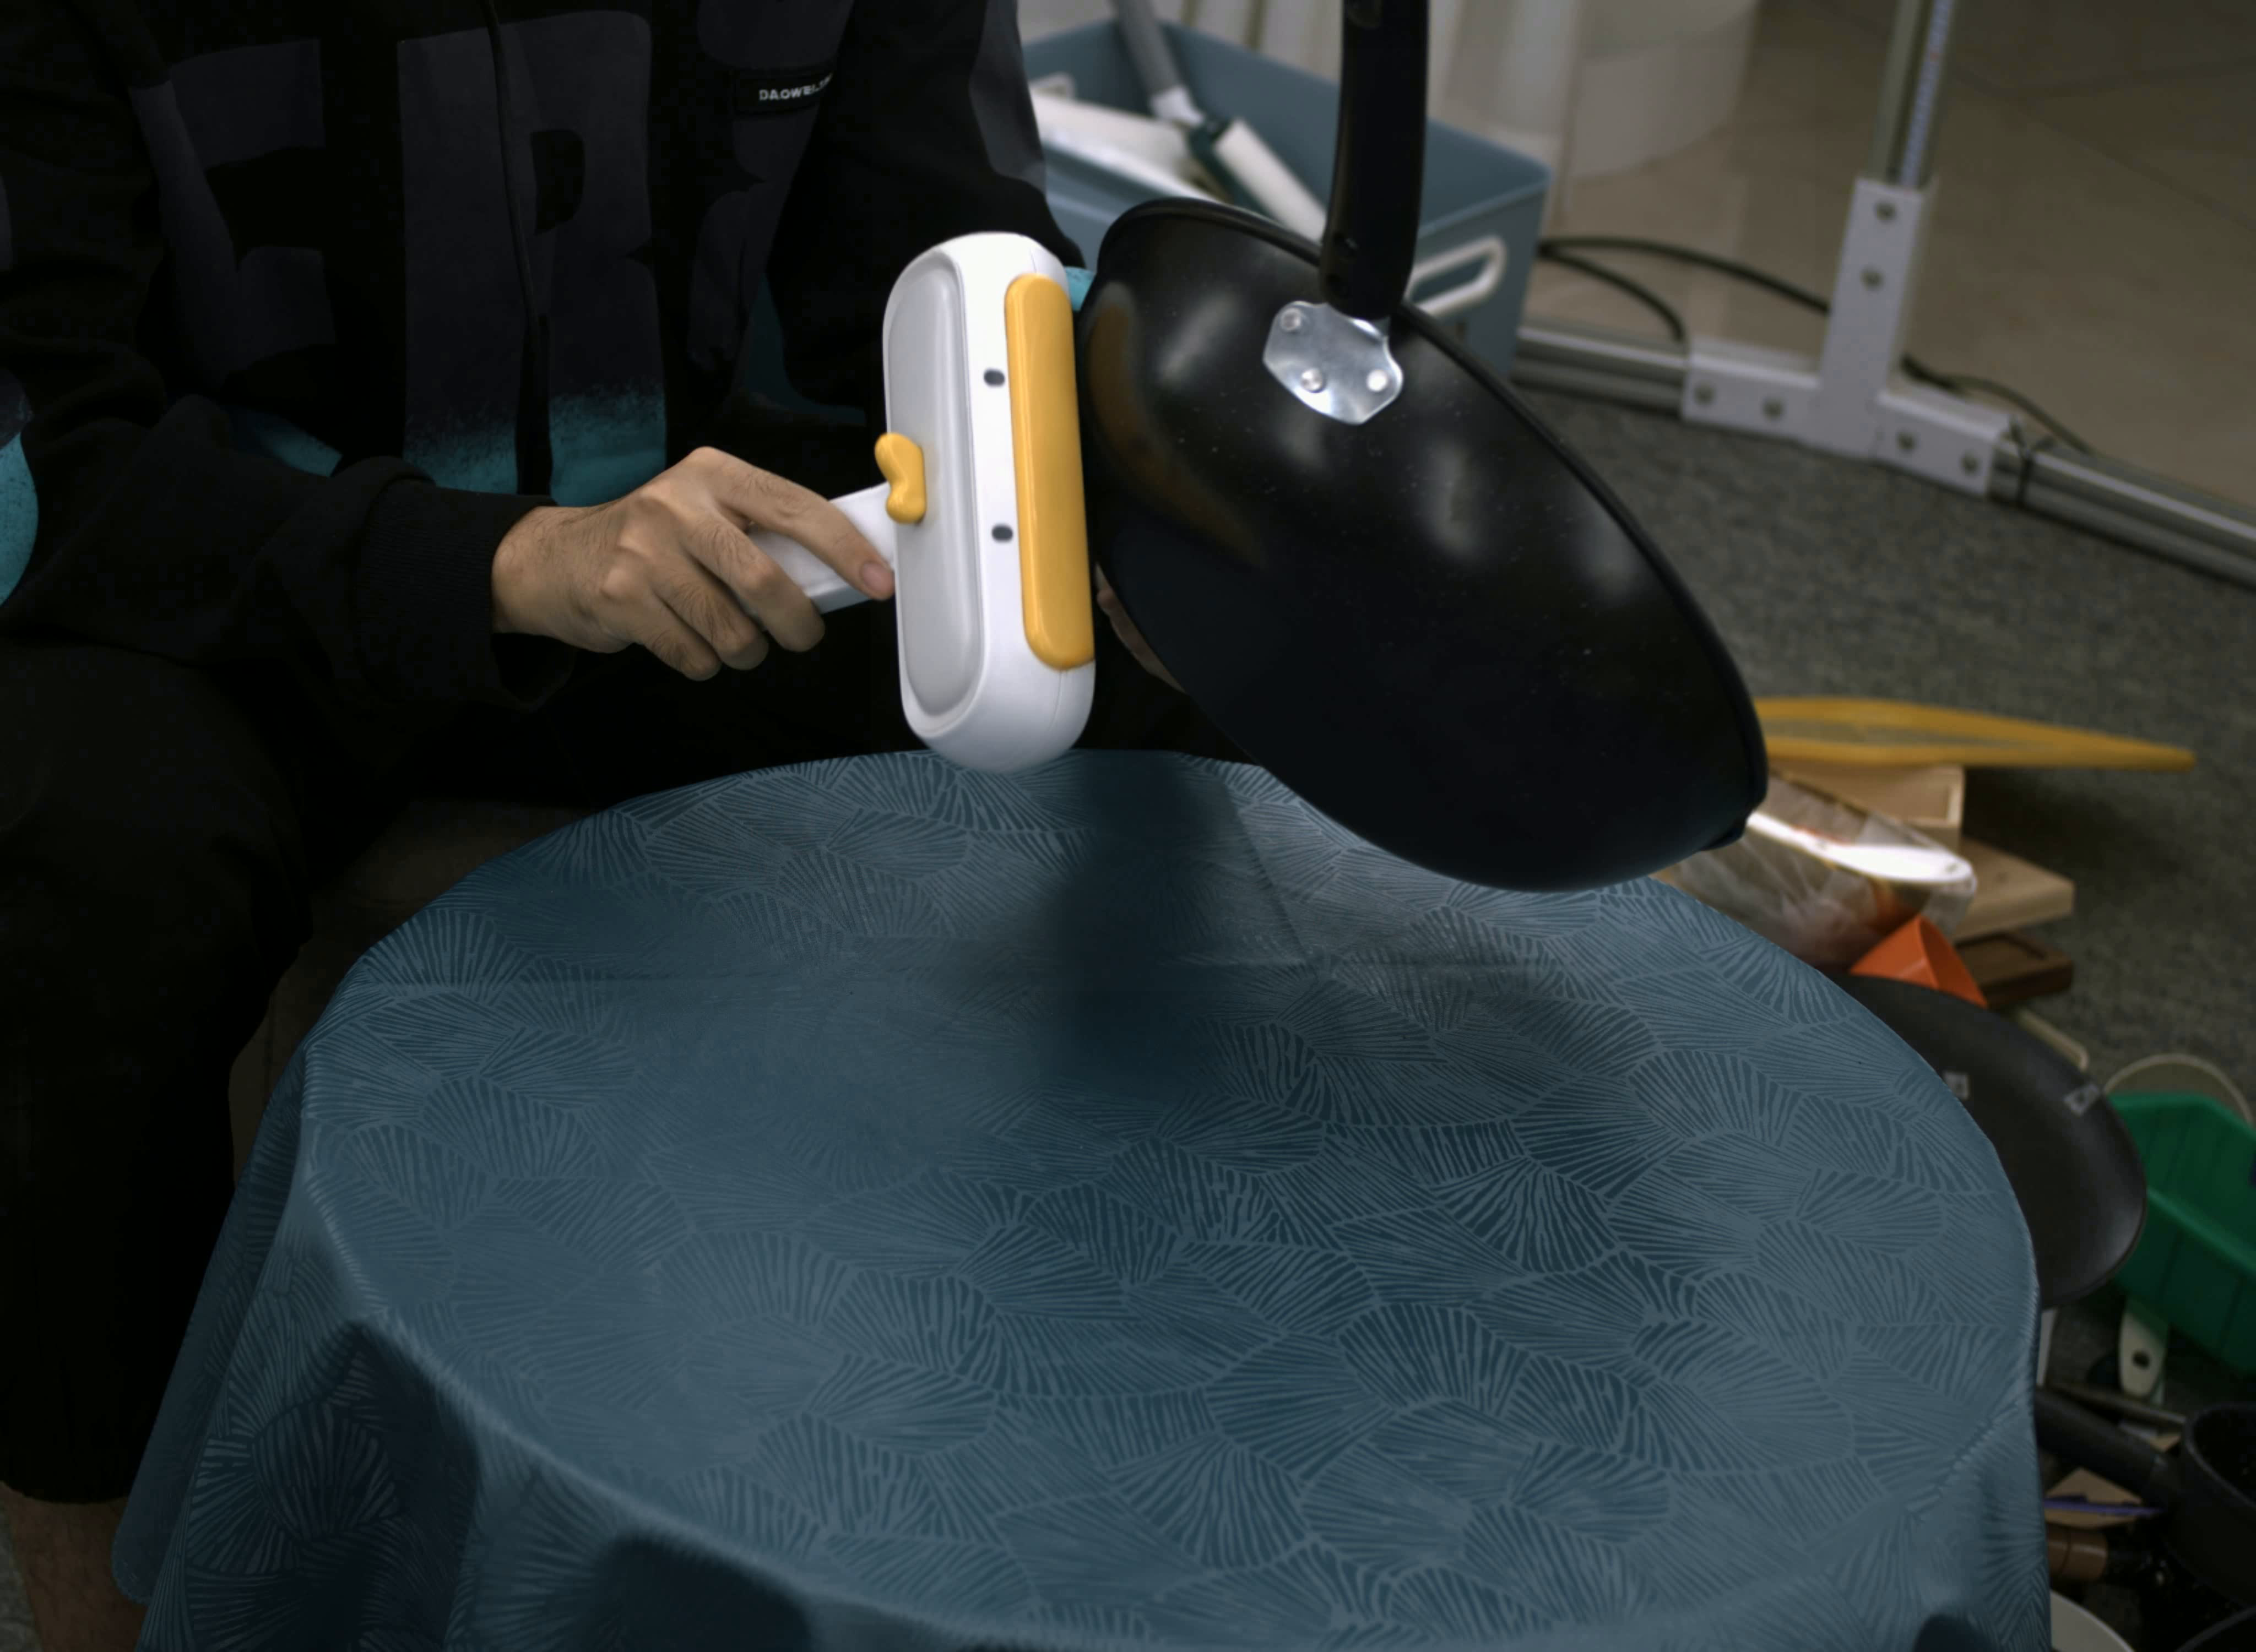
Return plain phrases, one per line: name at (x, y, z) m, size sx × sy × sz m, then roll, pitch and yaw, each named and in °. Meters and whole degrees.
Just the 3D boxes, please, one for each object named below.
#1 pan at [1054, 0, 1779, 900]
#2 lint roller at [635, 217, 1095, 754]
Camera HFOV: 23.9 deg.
pan at (0.075, -0.121, 1.796) m, size 0.312 × 0.473 × 0.112 m, roll 35°, pitch 72°, yaw 25°
lint roller at (-0.095, -0.100, 1.881) m, size 0.073 × 0.194 × 0.193 m, roll 9°, pitch -26°, yaw -43°
